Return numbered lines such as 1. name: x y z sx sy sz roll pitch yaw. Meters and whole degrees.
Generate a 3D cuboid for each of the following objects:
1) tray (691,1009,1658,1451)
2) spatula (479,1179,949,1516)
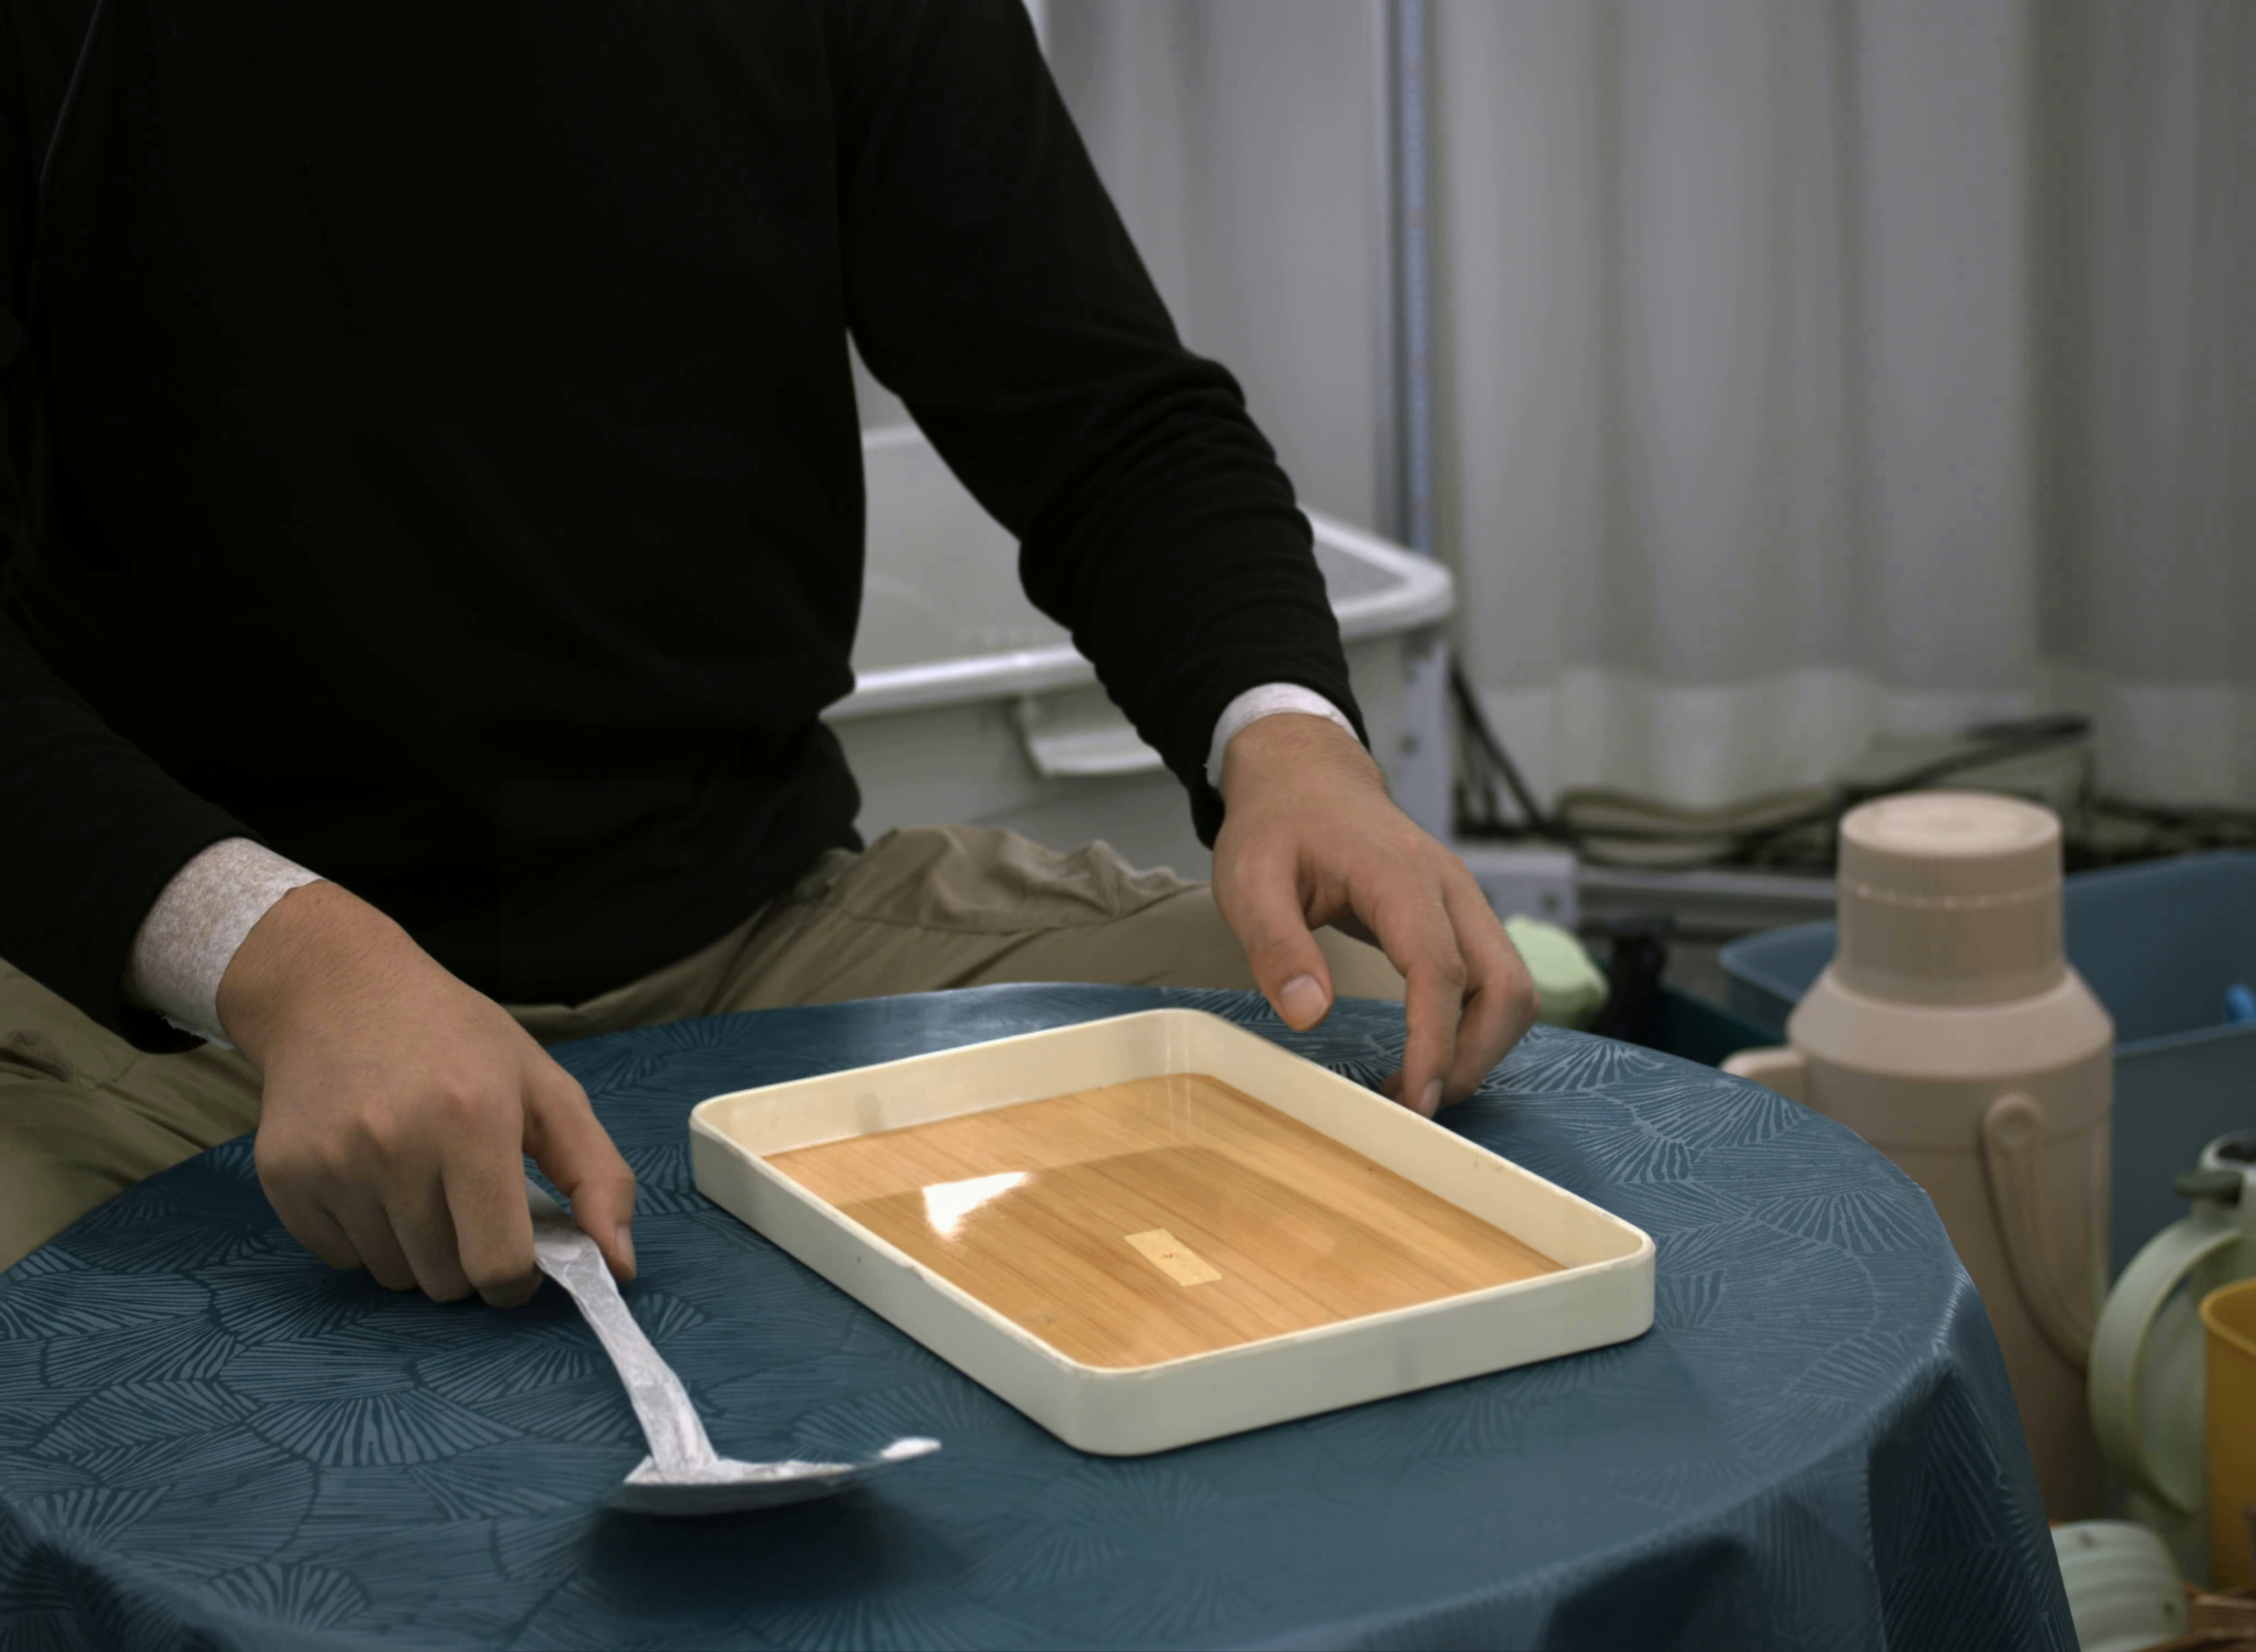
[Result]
1. tray: 0.007 0.117 1.652 0.191 0.027 0.302 -10 16 -25
2. spatula: -0.144 0.140 1.566 0.098 0.044 0.368 -4 15 -18
